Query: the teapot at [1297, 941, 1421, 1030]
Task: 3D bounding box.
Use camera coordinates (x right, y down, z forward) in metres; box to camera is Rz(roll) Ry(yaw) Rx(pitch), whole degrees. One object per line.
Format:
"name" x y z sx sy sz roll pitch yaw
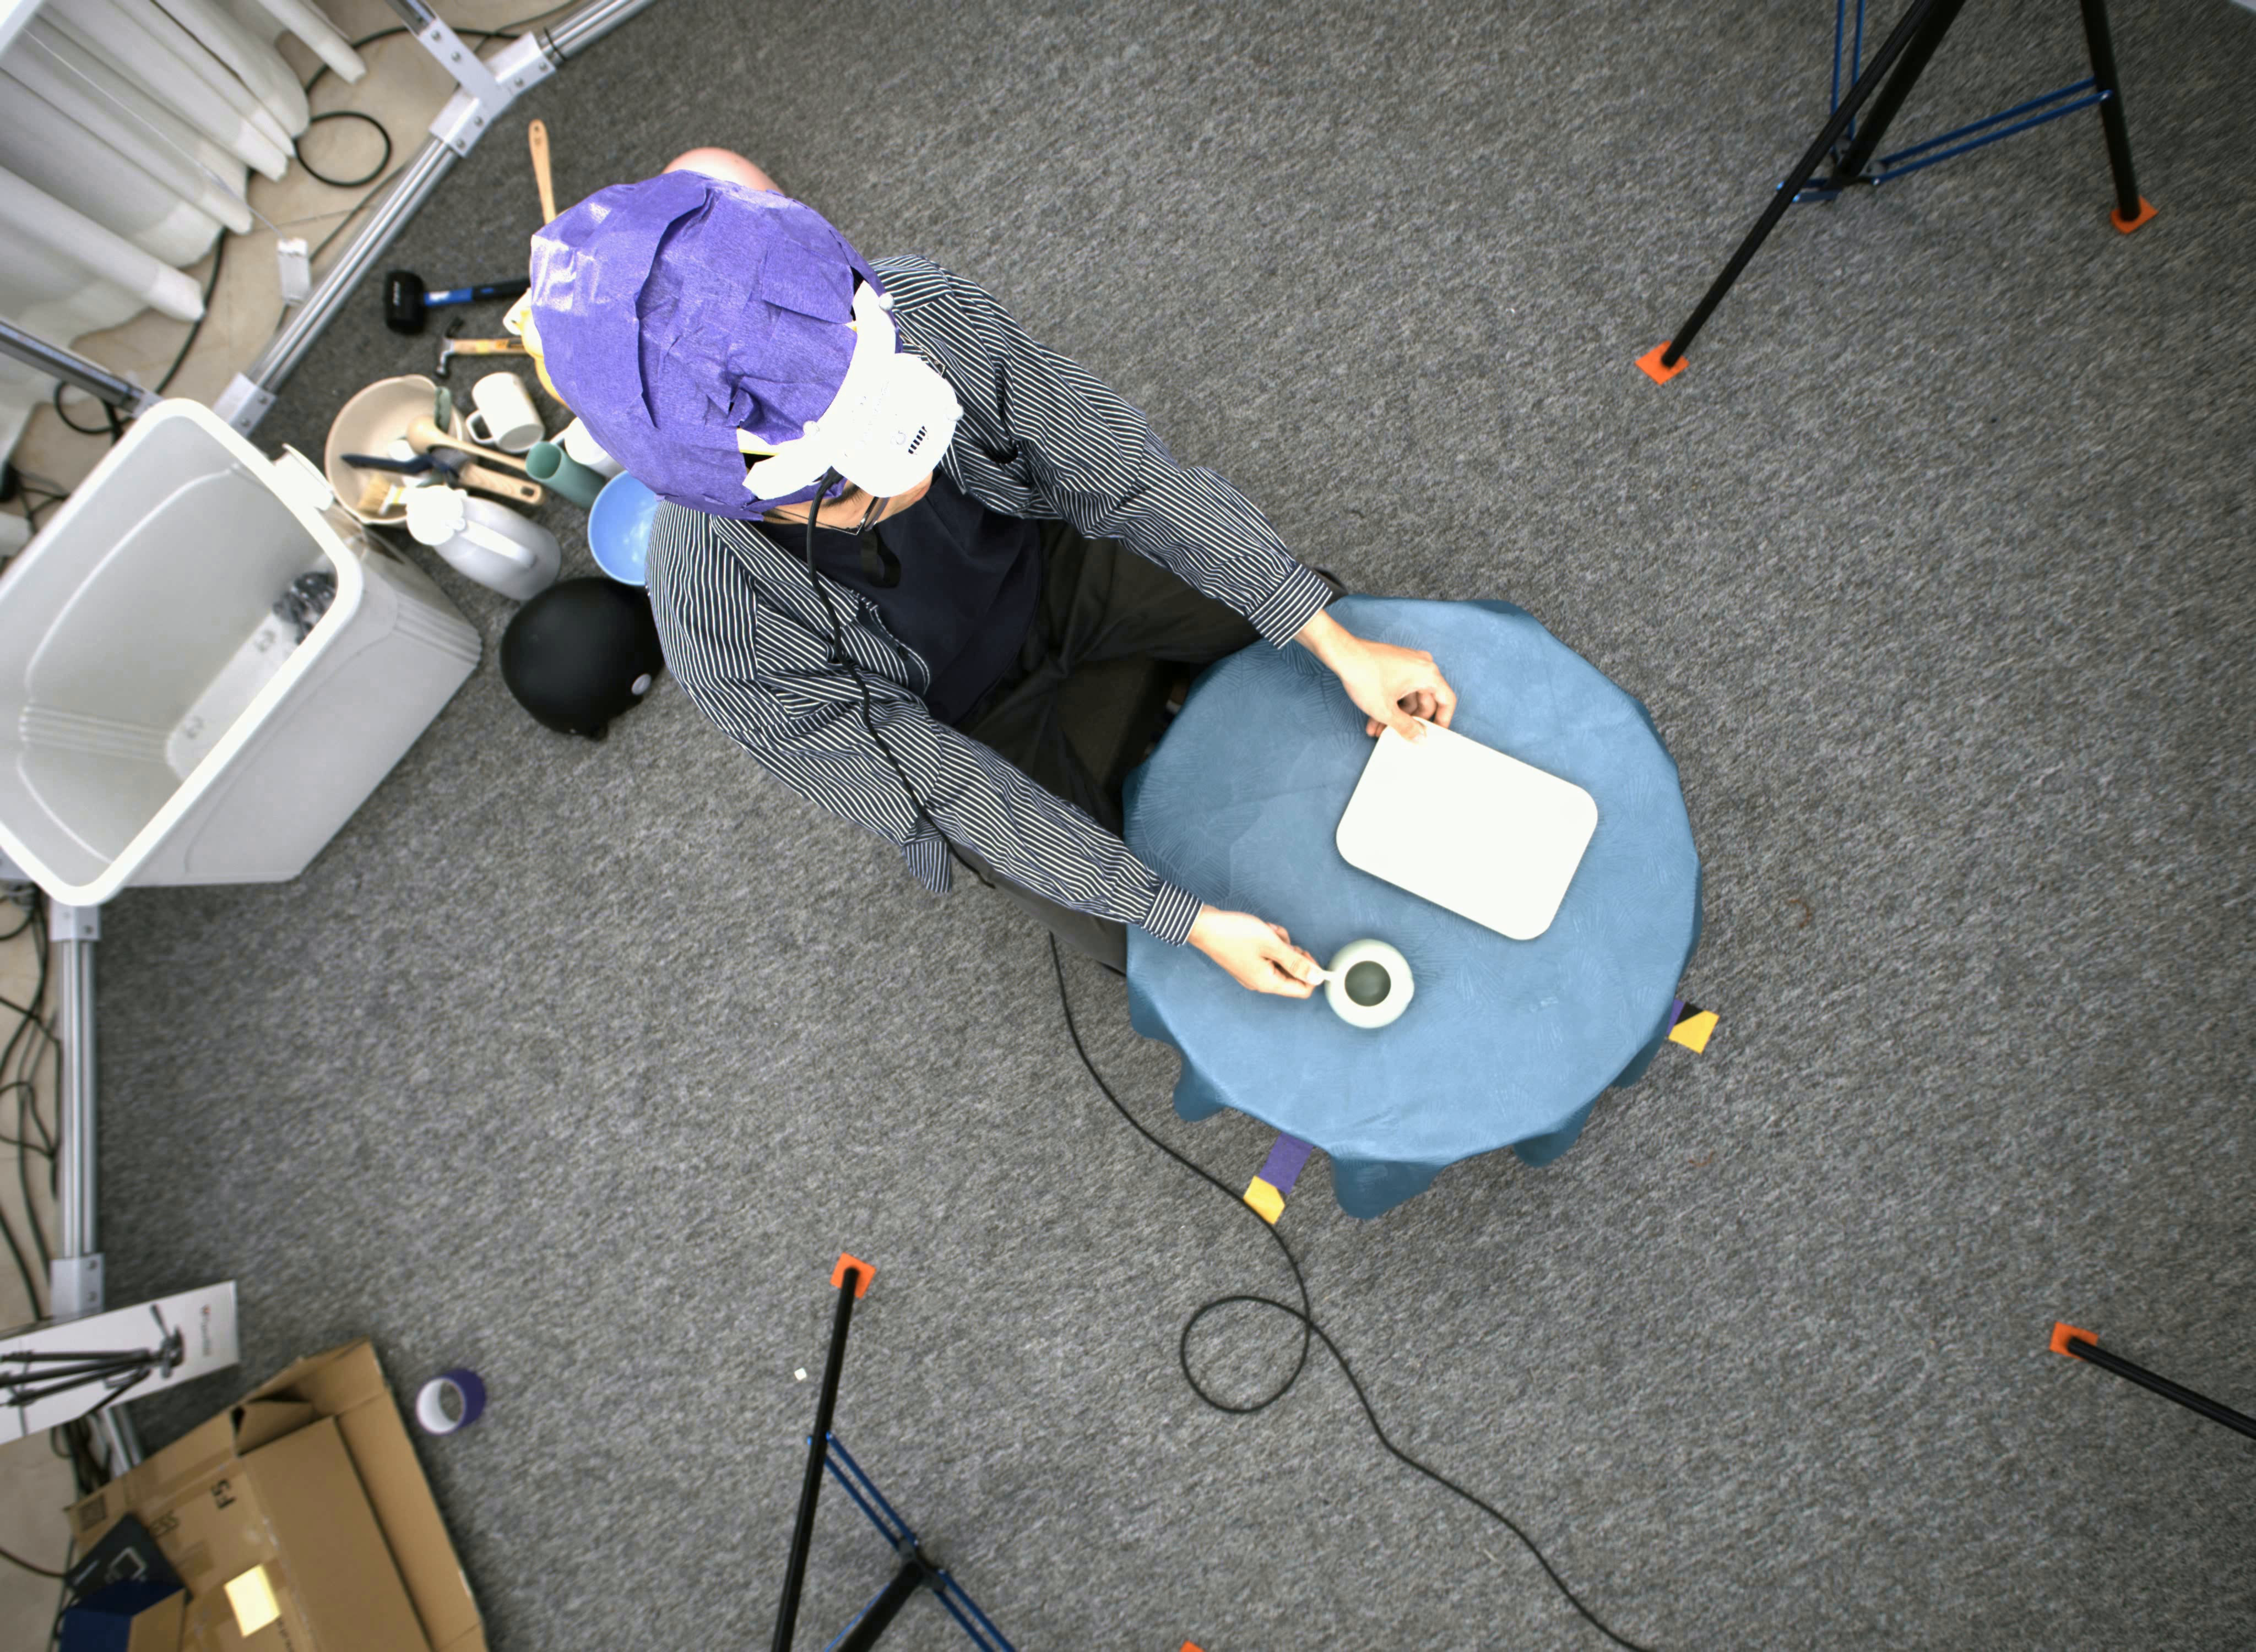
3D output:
"teapot" 0.237 0.160 1.421 0.128 0.061 0.091 14 91 11

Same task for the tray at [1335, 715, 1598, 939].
"tray" 0.349 -0.001 1.423 0.239 0.017 0.172 25 94 8
